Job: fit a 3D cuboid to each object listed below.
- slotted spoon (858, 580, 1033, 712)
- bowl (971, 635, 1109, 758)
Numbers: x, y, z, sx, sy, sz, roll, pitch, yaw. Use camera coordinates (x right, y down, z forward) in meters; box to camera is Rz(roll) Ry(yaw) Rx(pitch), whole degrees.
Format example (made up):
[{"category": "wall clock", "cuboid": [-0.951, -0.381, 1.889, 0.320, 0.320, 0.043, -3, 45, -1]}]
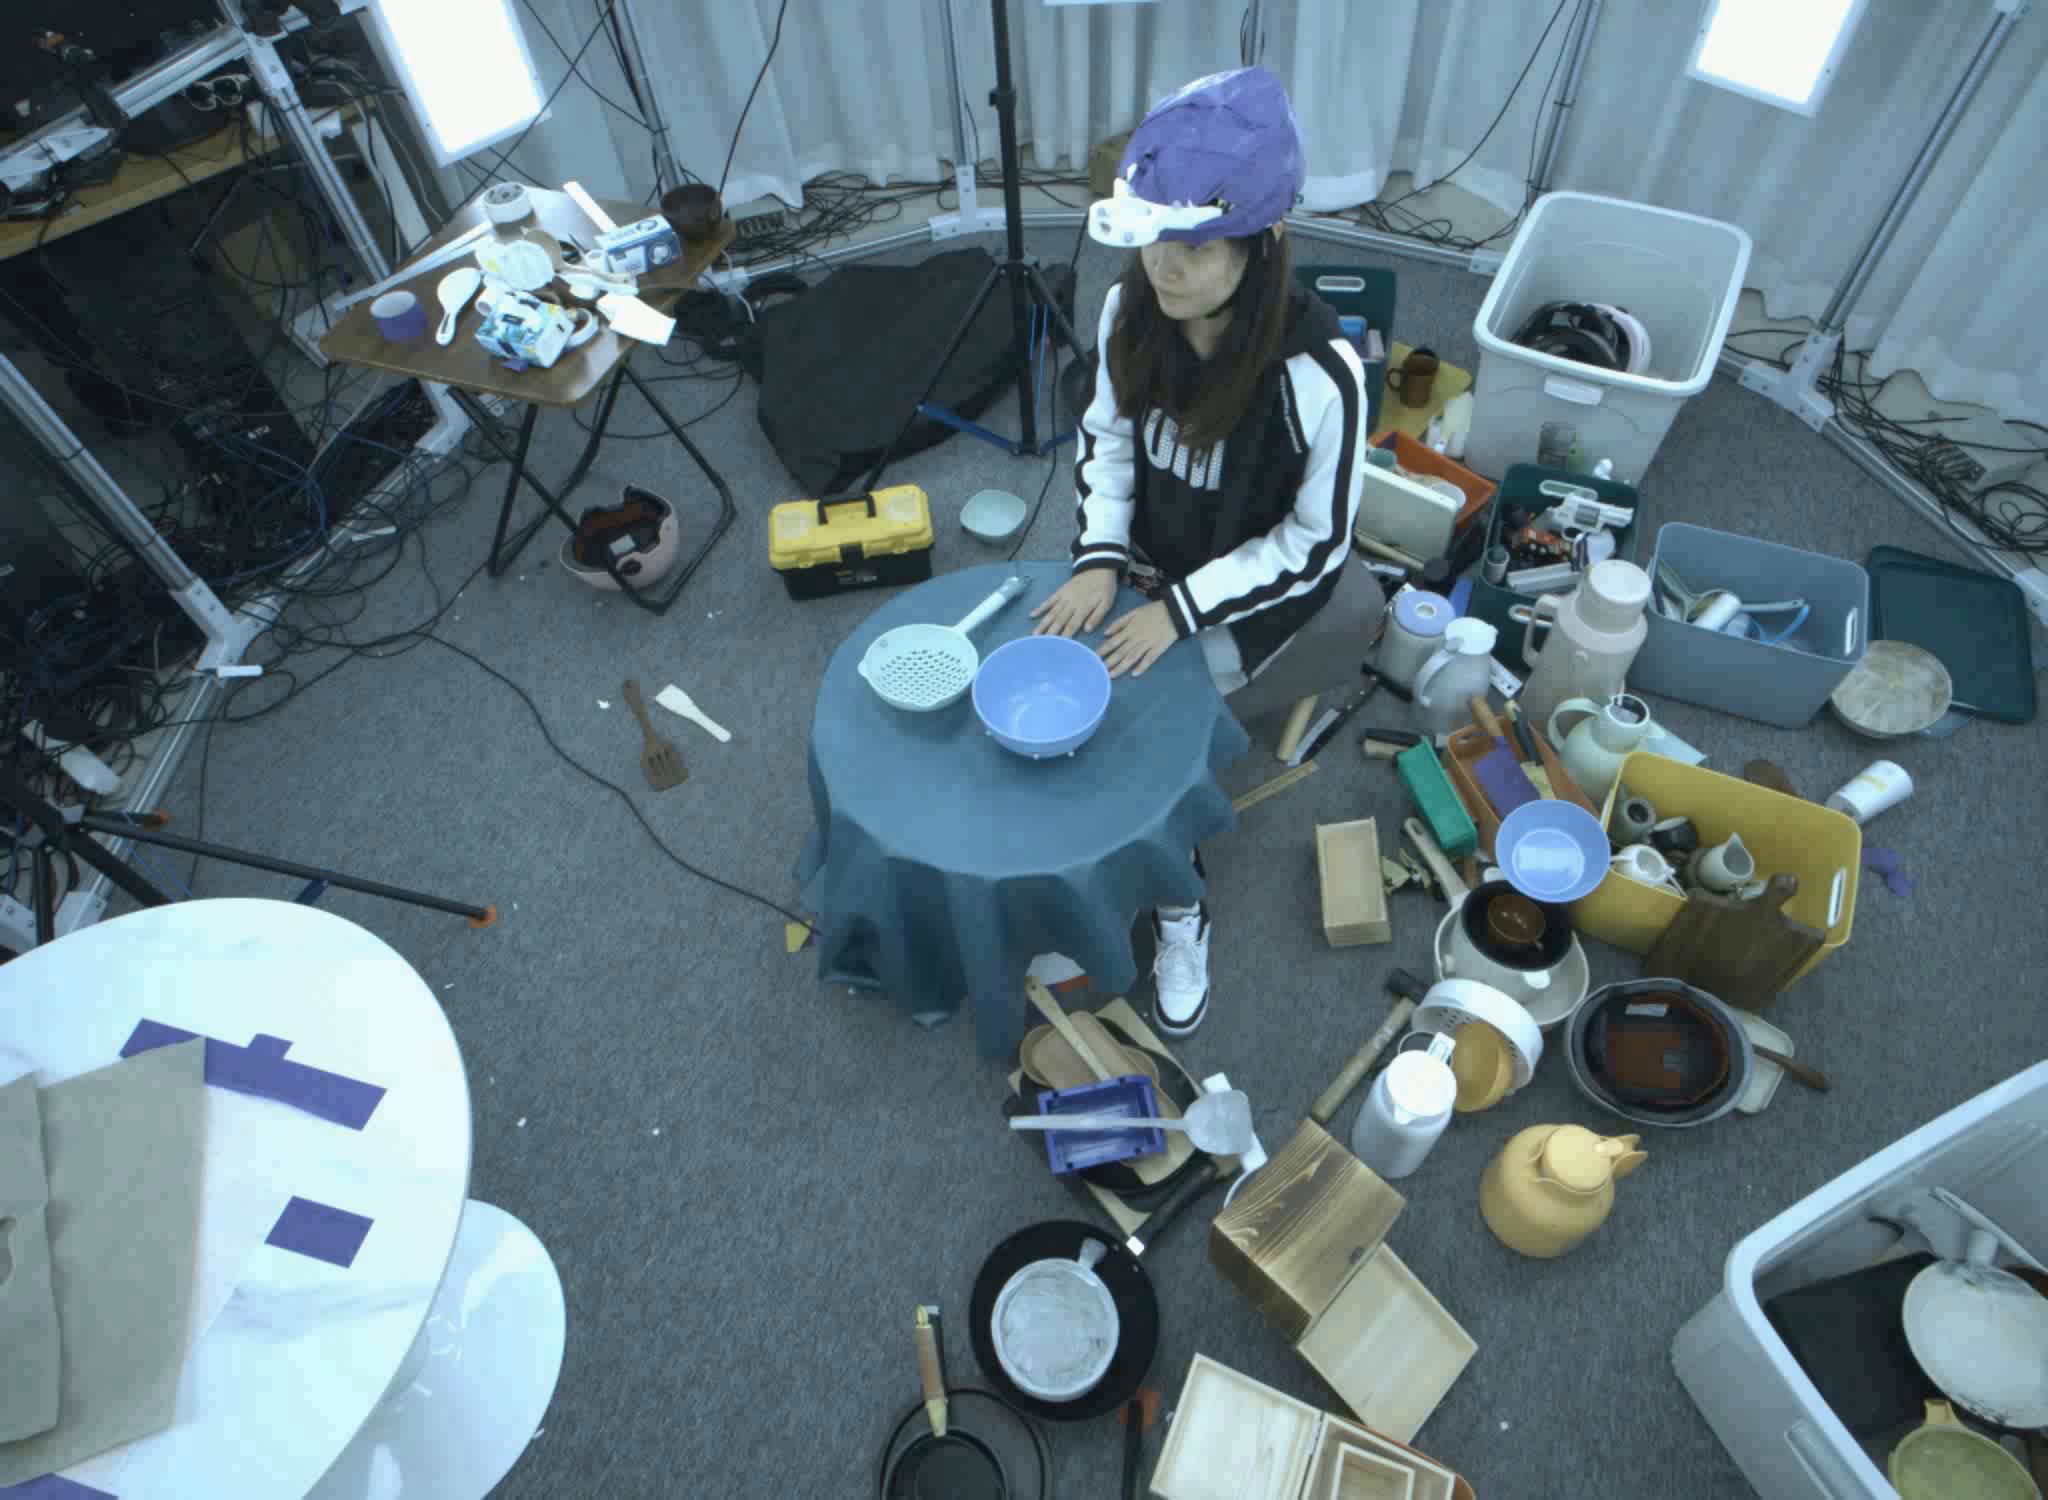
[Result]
[{"category": "slotted spoon", "cuboid": [-0.097, -0.177, 1.881, 0.167, 0.076, 0.360, 30, 59, 20]}, {"category": "bowl", "cuboid": [0.025, -0.062, 1.772, 0.196, 0.096, 0.194, -1, 55, 2]}]
